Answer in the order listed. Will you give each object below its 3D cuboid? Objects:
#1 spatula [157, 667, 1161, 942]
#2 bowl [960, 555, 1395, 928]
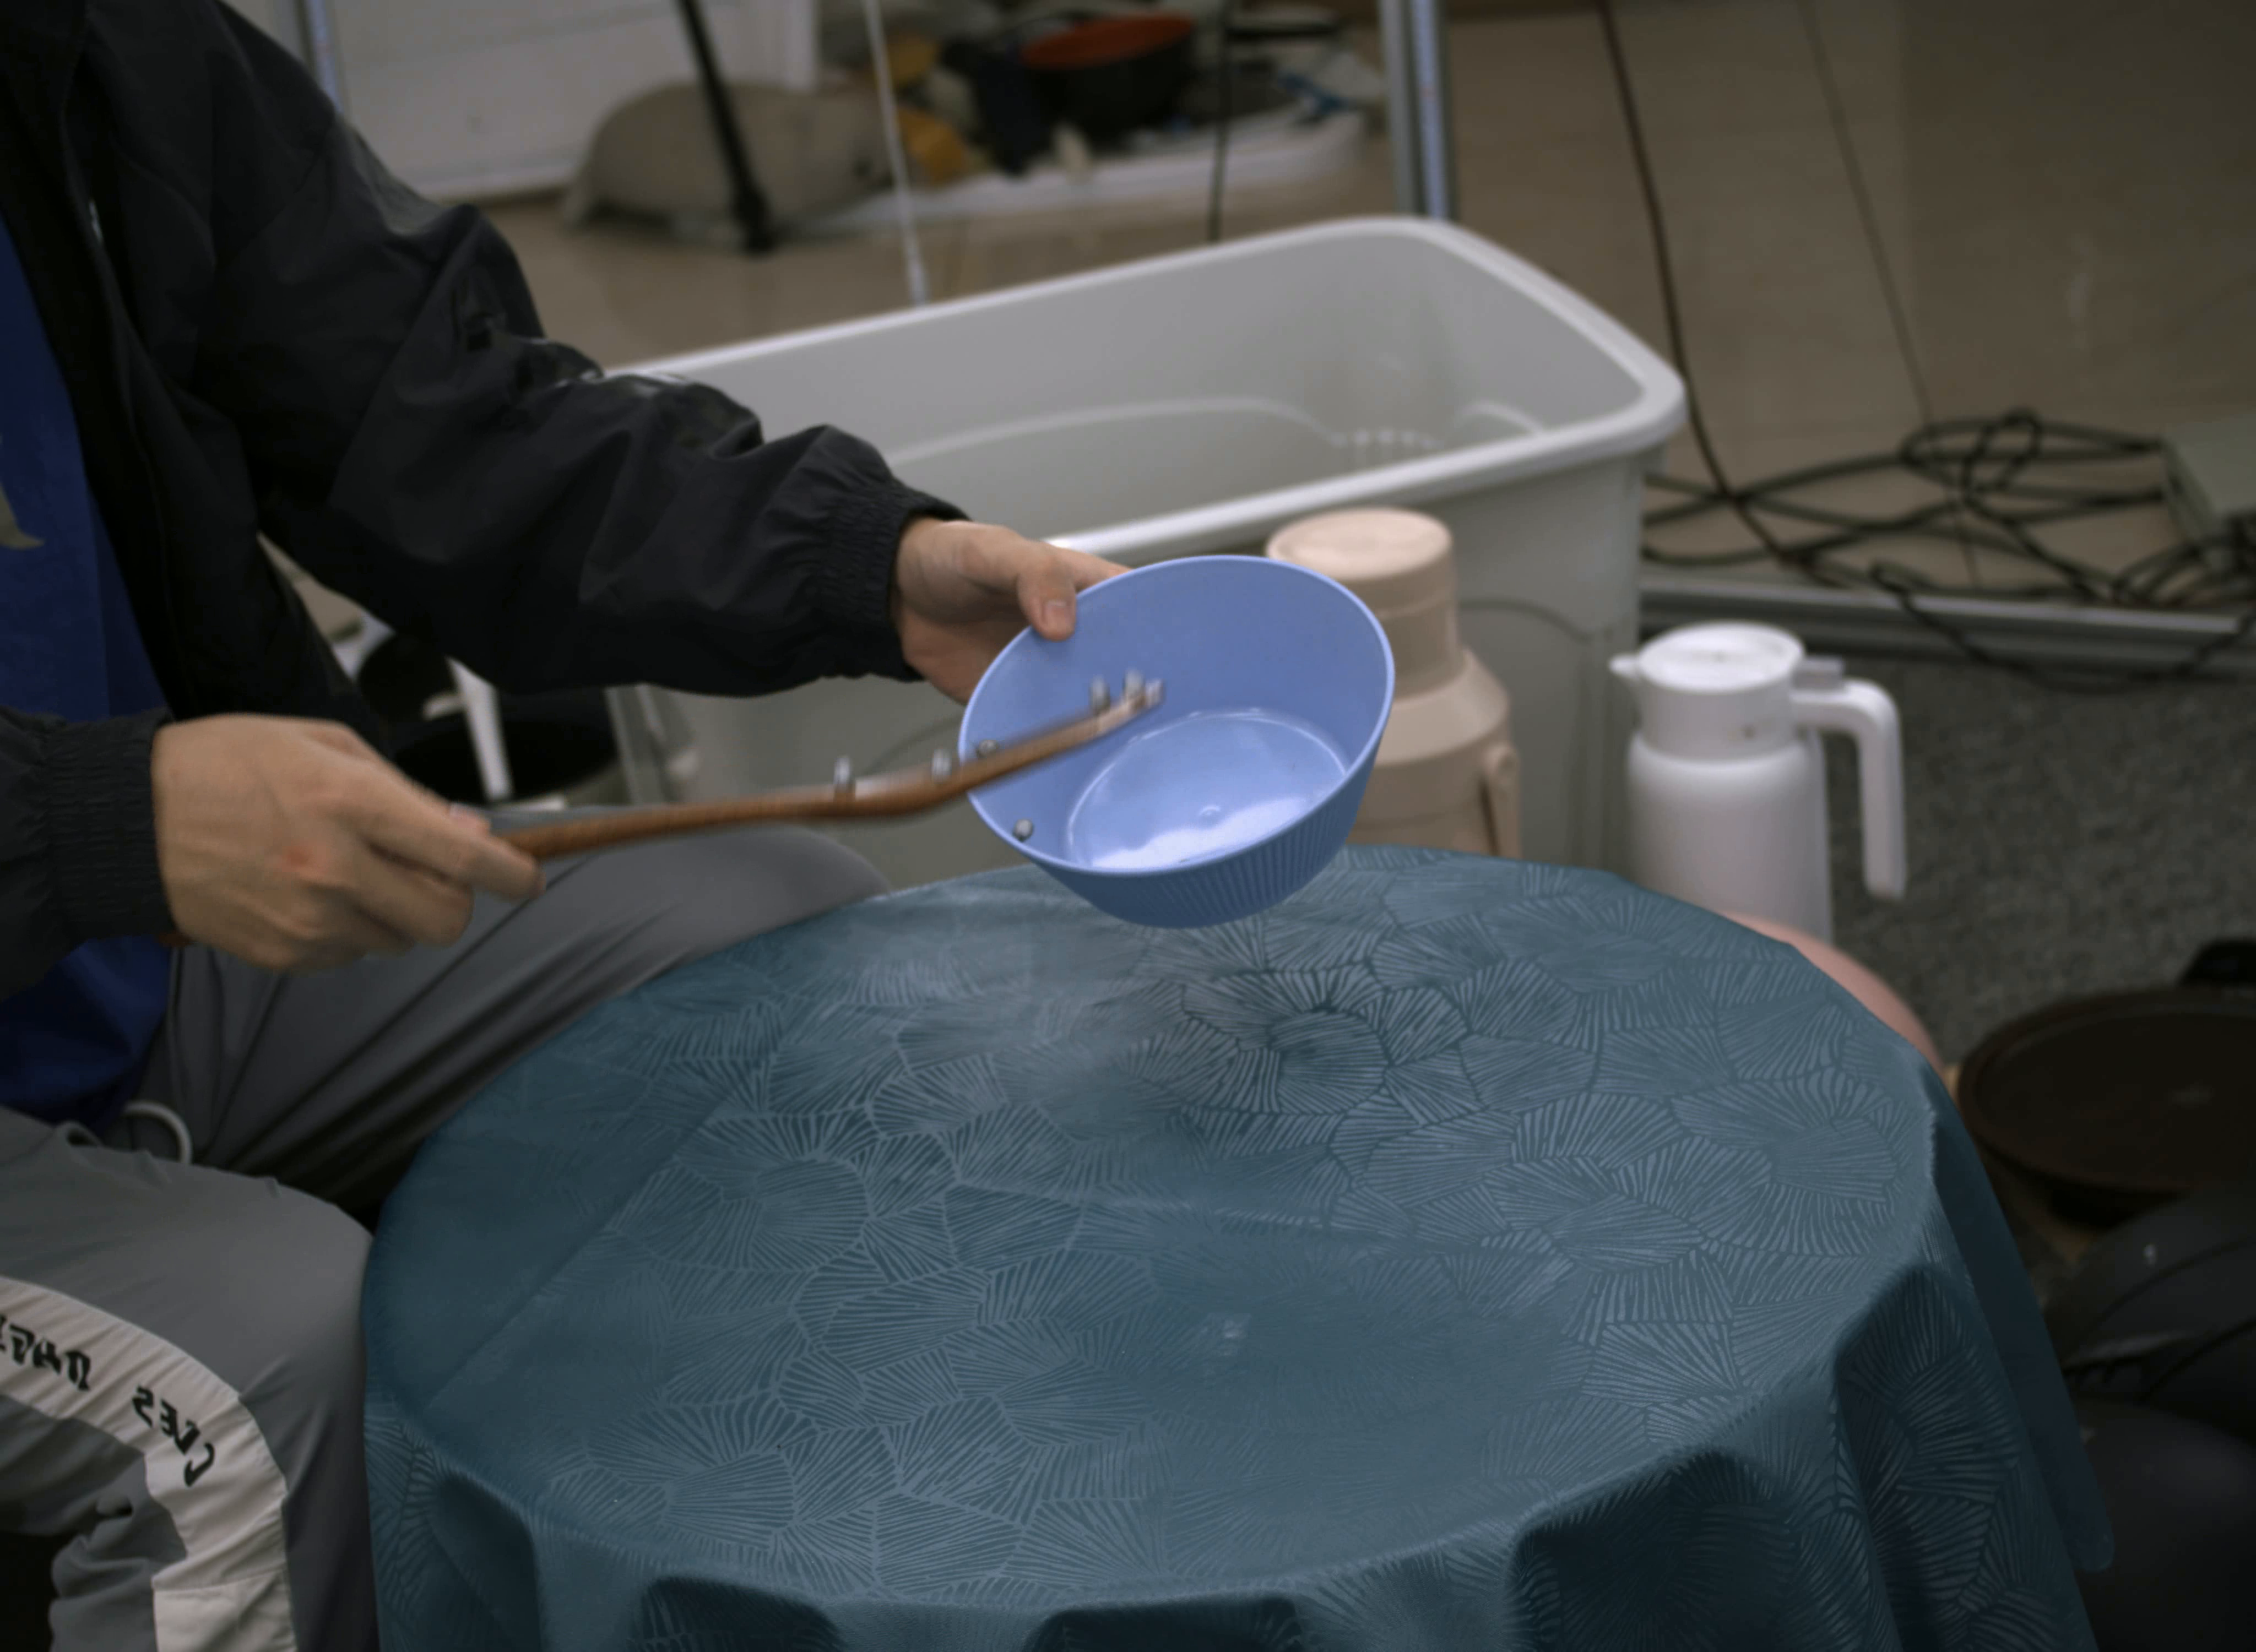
[{"bbox_3d":[-0.172,-0.003,2.045,0.386,0.024,0.085,-12,8,12],"label":"spatula"},{"bbox_3d":[0.027,-0.023,2.226,0.176,0.071,0.173,-11,44,11],"label":"bowl"}]
